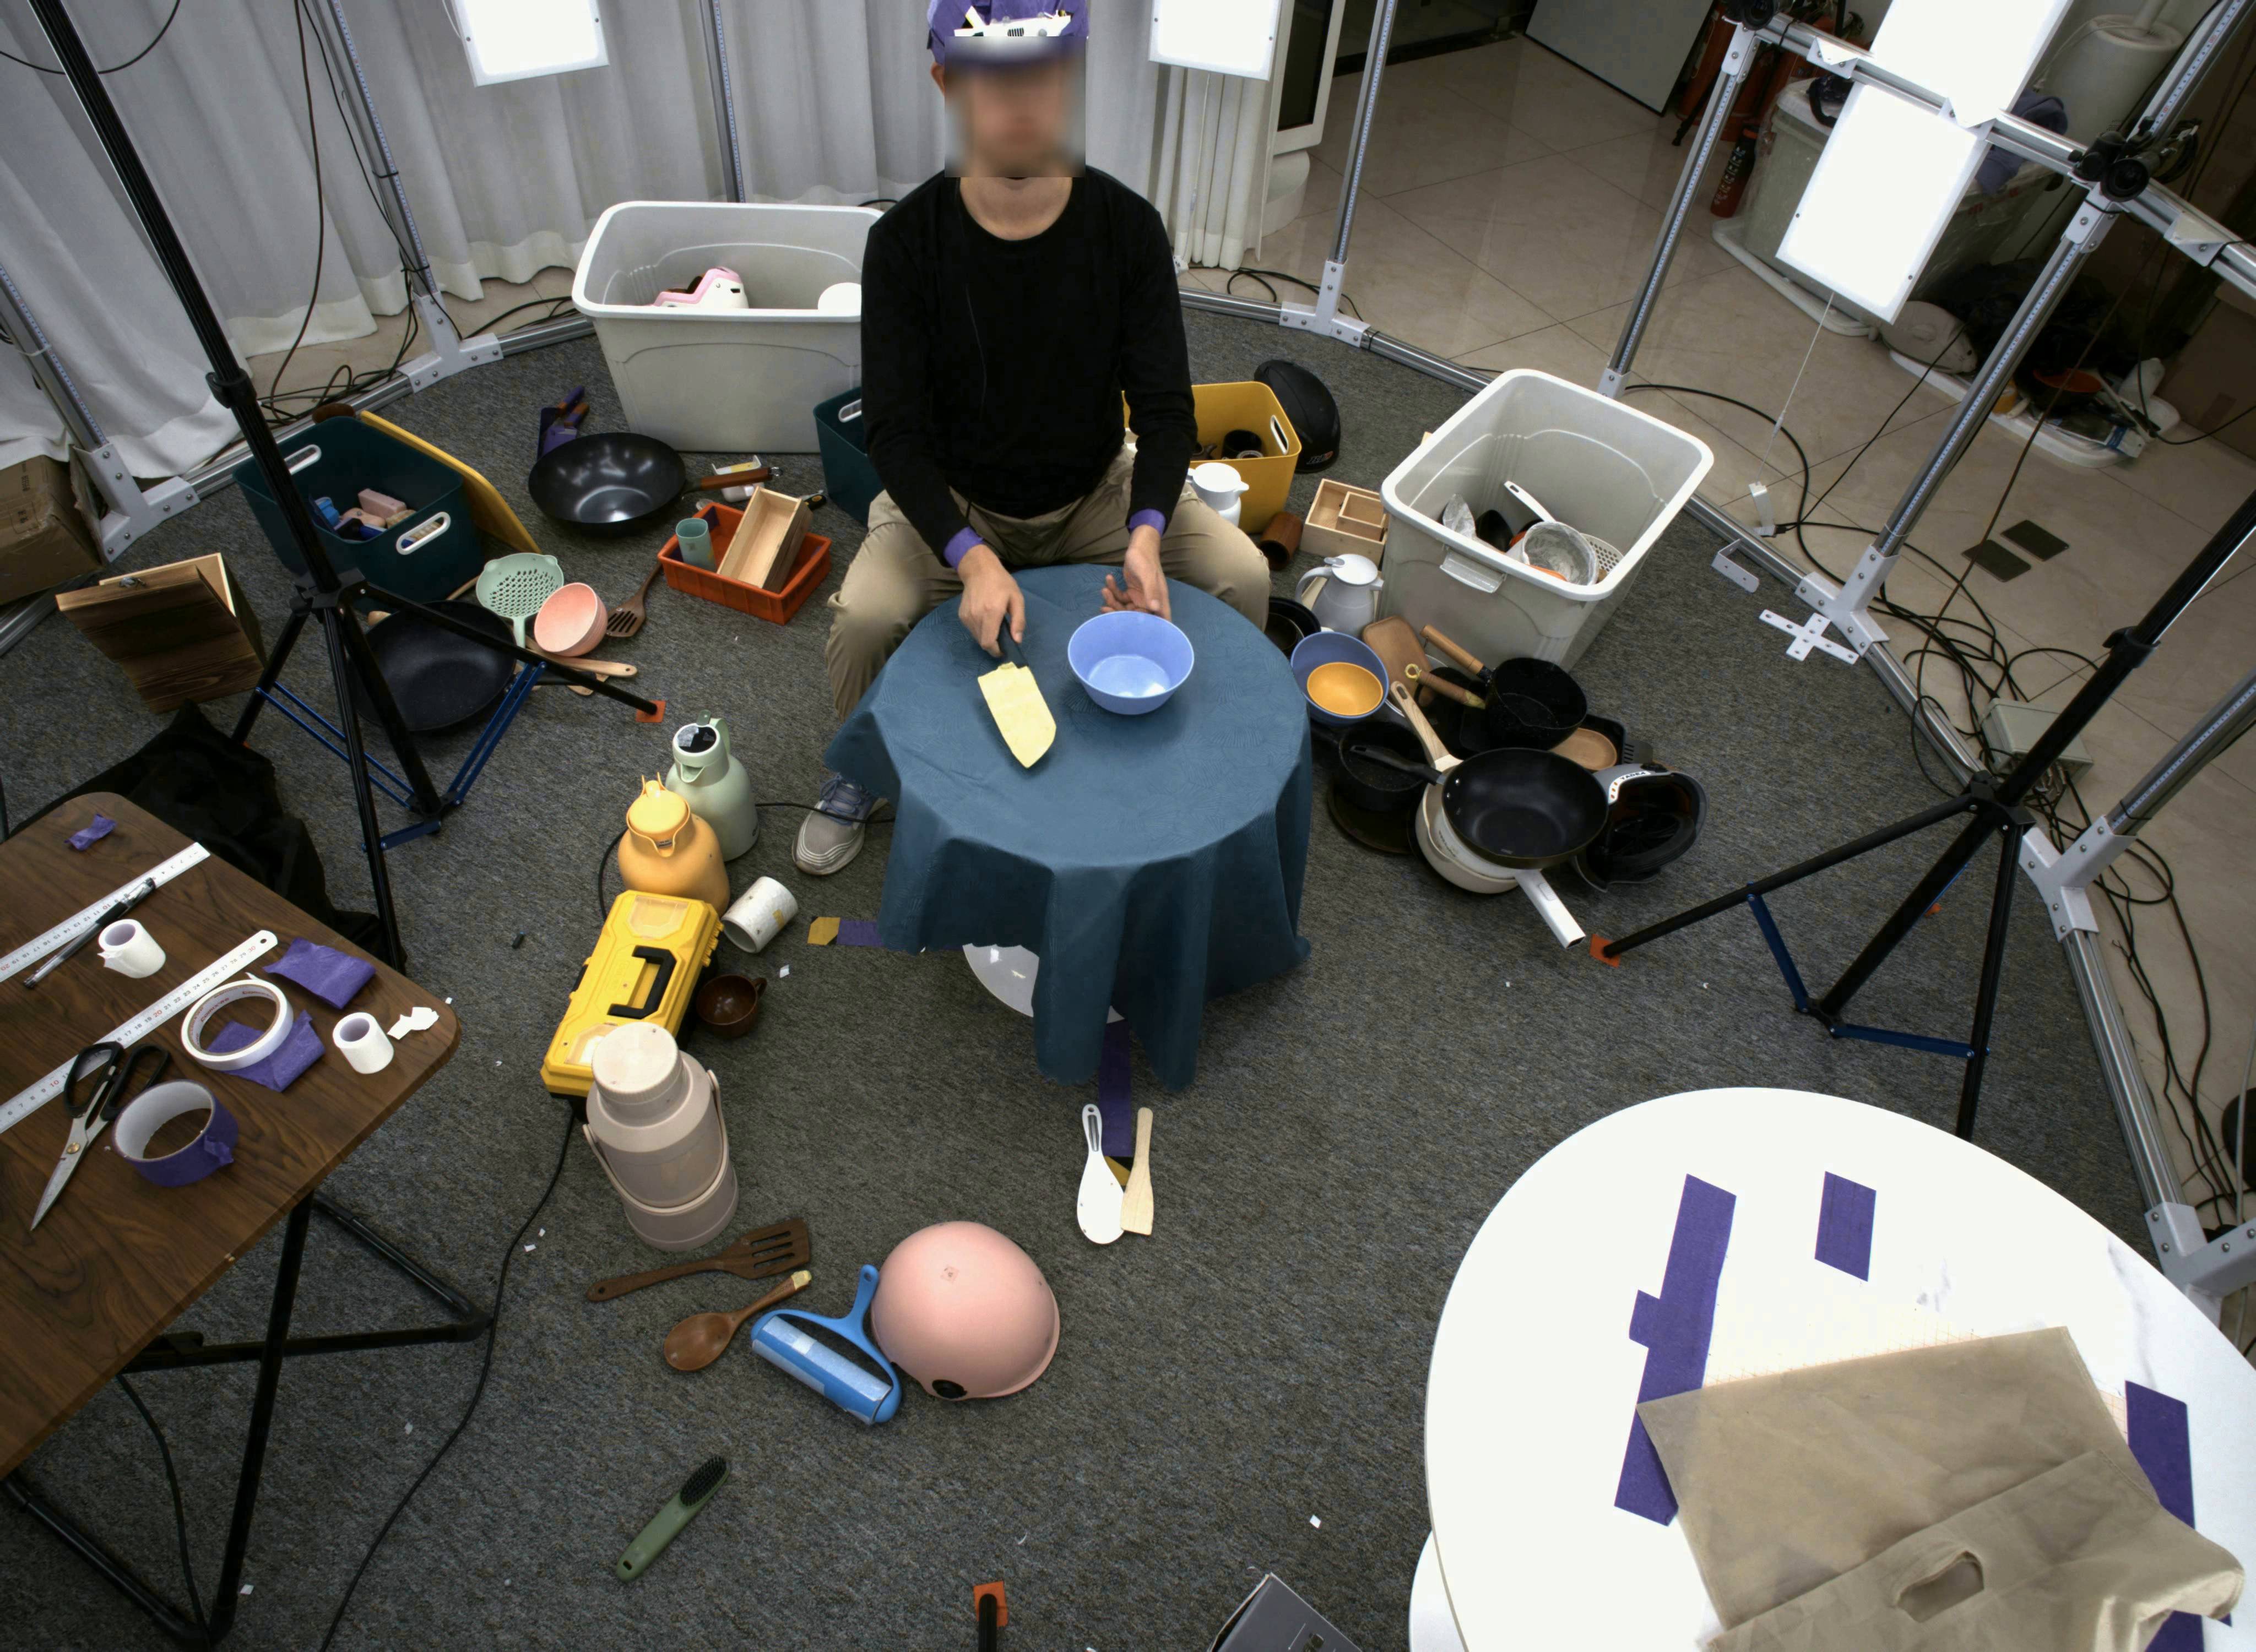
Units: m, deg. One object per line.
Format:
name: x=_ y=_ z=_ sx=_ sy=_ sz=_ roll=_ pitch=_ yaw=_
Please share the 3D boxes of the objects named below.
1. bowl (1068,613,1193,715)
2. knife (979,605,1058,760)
bowl: x=0.002 y=-0.221 z=1.816 sx=0.176 sy=0.068 sz=0.180 roll=1 pitch=49 yaw=-2
knife: x=-0.166 y=-0.202 z=1.792 sx=0.081 sy=0.026 sz=0.296 roll=-19 pitch=55 yaw=-5
